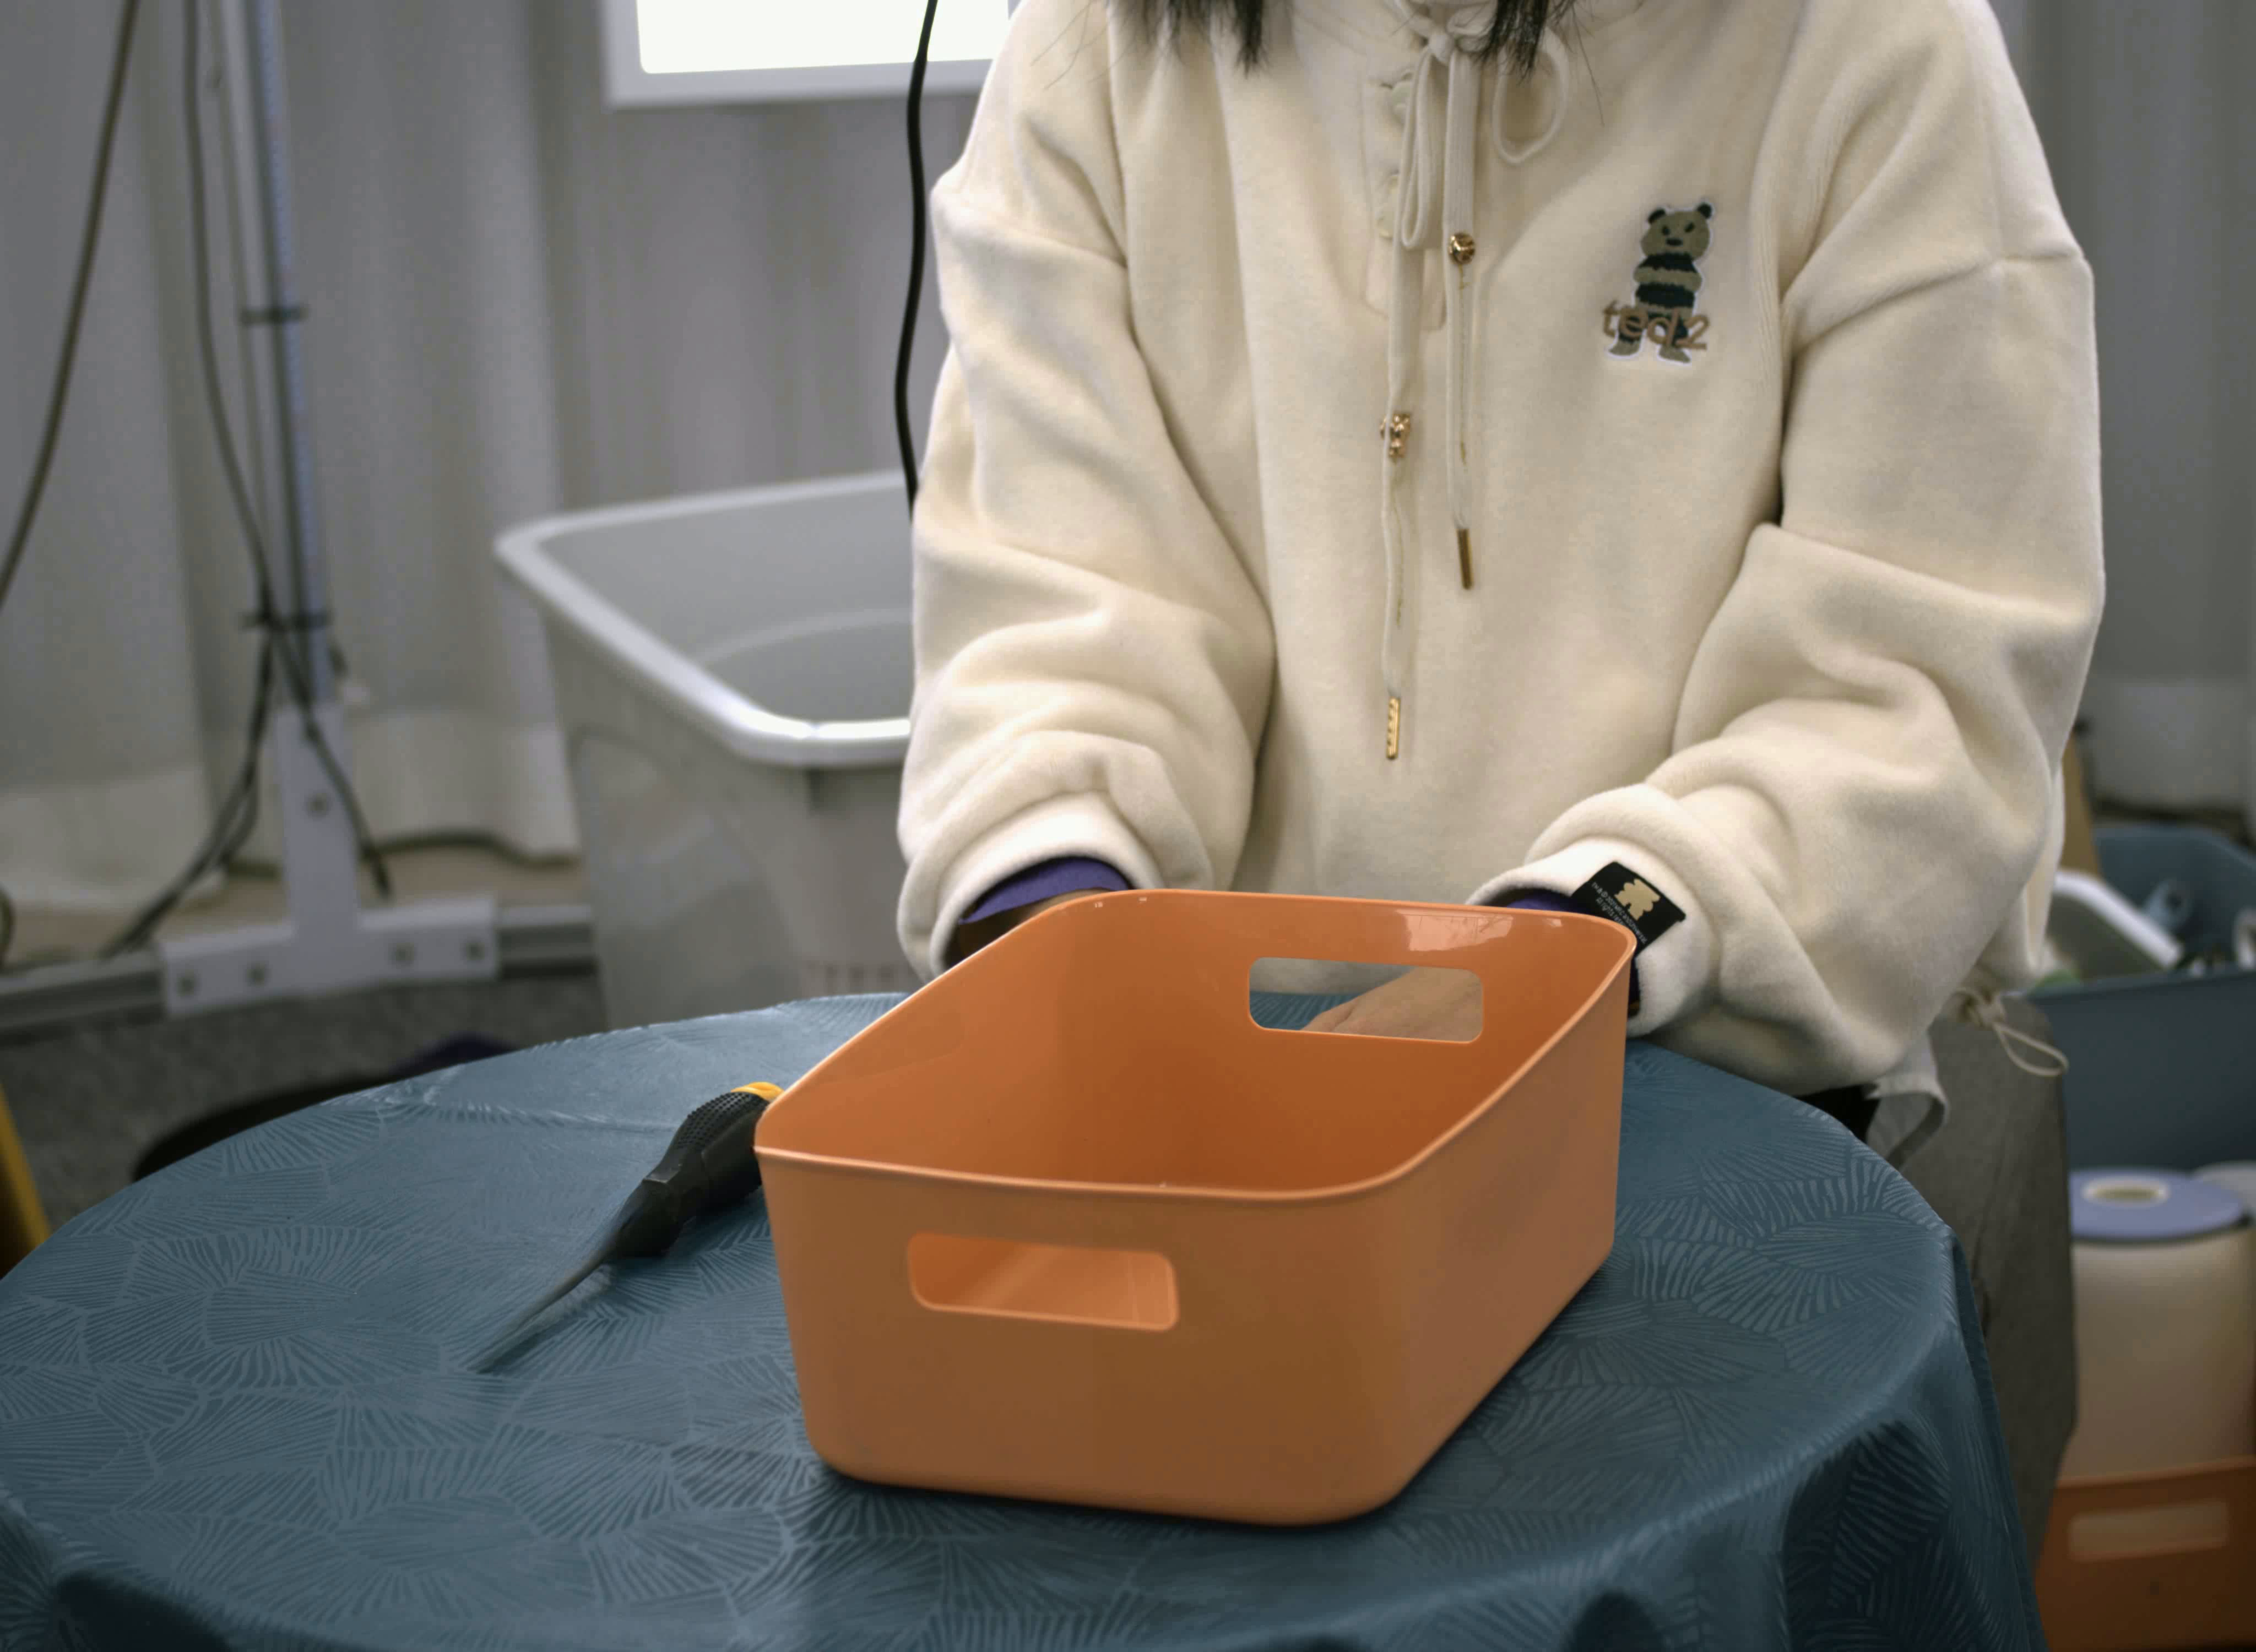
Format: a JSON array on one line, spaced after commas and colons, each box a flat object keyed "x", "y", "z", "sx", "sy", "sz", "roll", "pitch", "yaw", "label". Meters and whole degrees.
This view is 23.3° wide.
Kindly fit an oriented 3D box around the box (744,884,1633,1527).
[{"x": 0.027, "y": 0.104, "z": 1.549, "sx": 0.199, "sy": 0.102, "sz": 0.274, "roll": 2, "pitch": 16, "yaw": 21, "label": "box"}]

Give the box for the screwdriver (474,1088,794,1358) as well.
[{"x": -0.153, "y": 0.123, "z": 1.673, "sx": 0.031, "sy": 0.031, "sz": 0.198, "roll": 4, "pitch": 19, "yaw": 25, "label": "screwdriver"}]
